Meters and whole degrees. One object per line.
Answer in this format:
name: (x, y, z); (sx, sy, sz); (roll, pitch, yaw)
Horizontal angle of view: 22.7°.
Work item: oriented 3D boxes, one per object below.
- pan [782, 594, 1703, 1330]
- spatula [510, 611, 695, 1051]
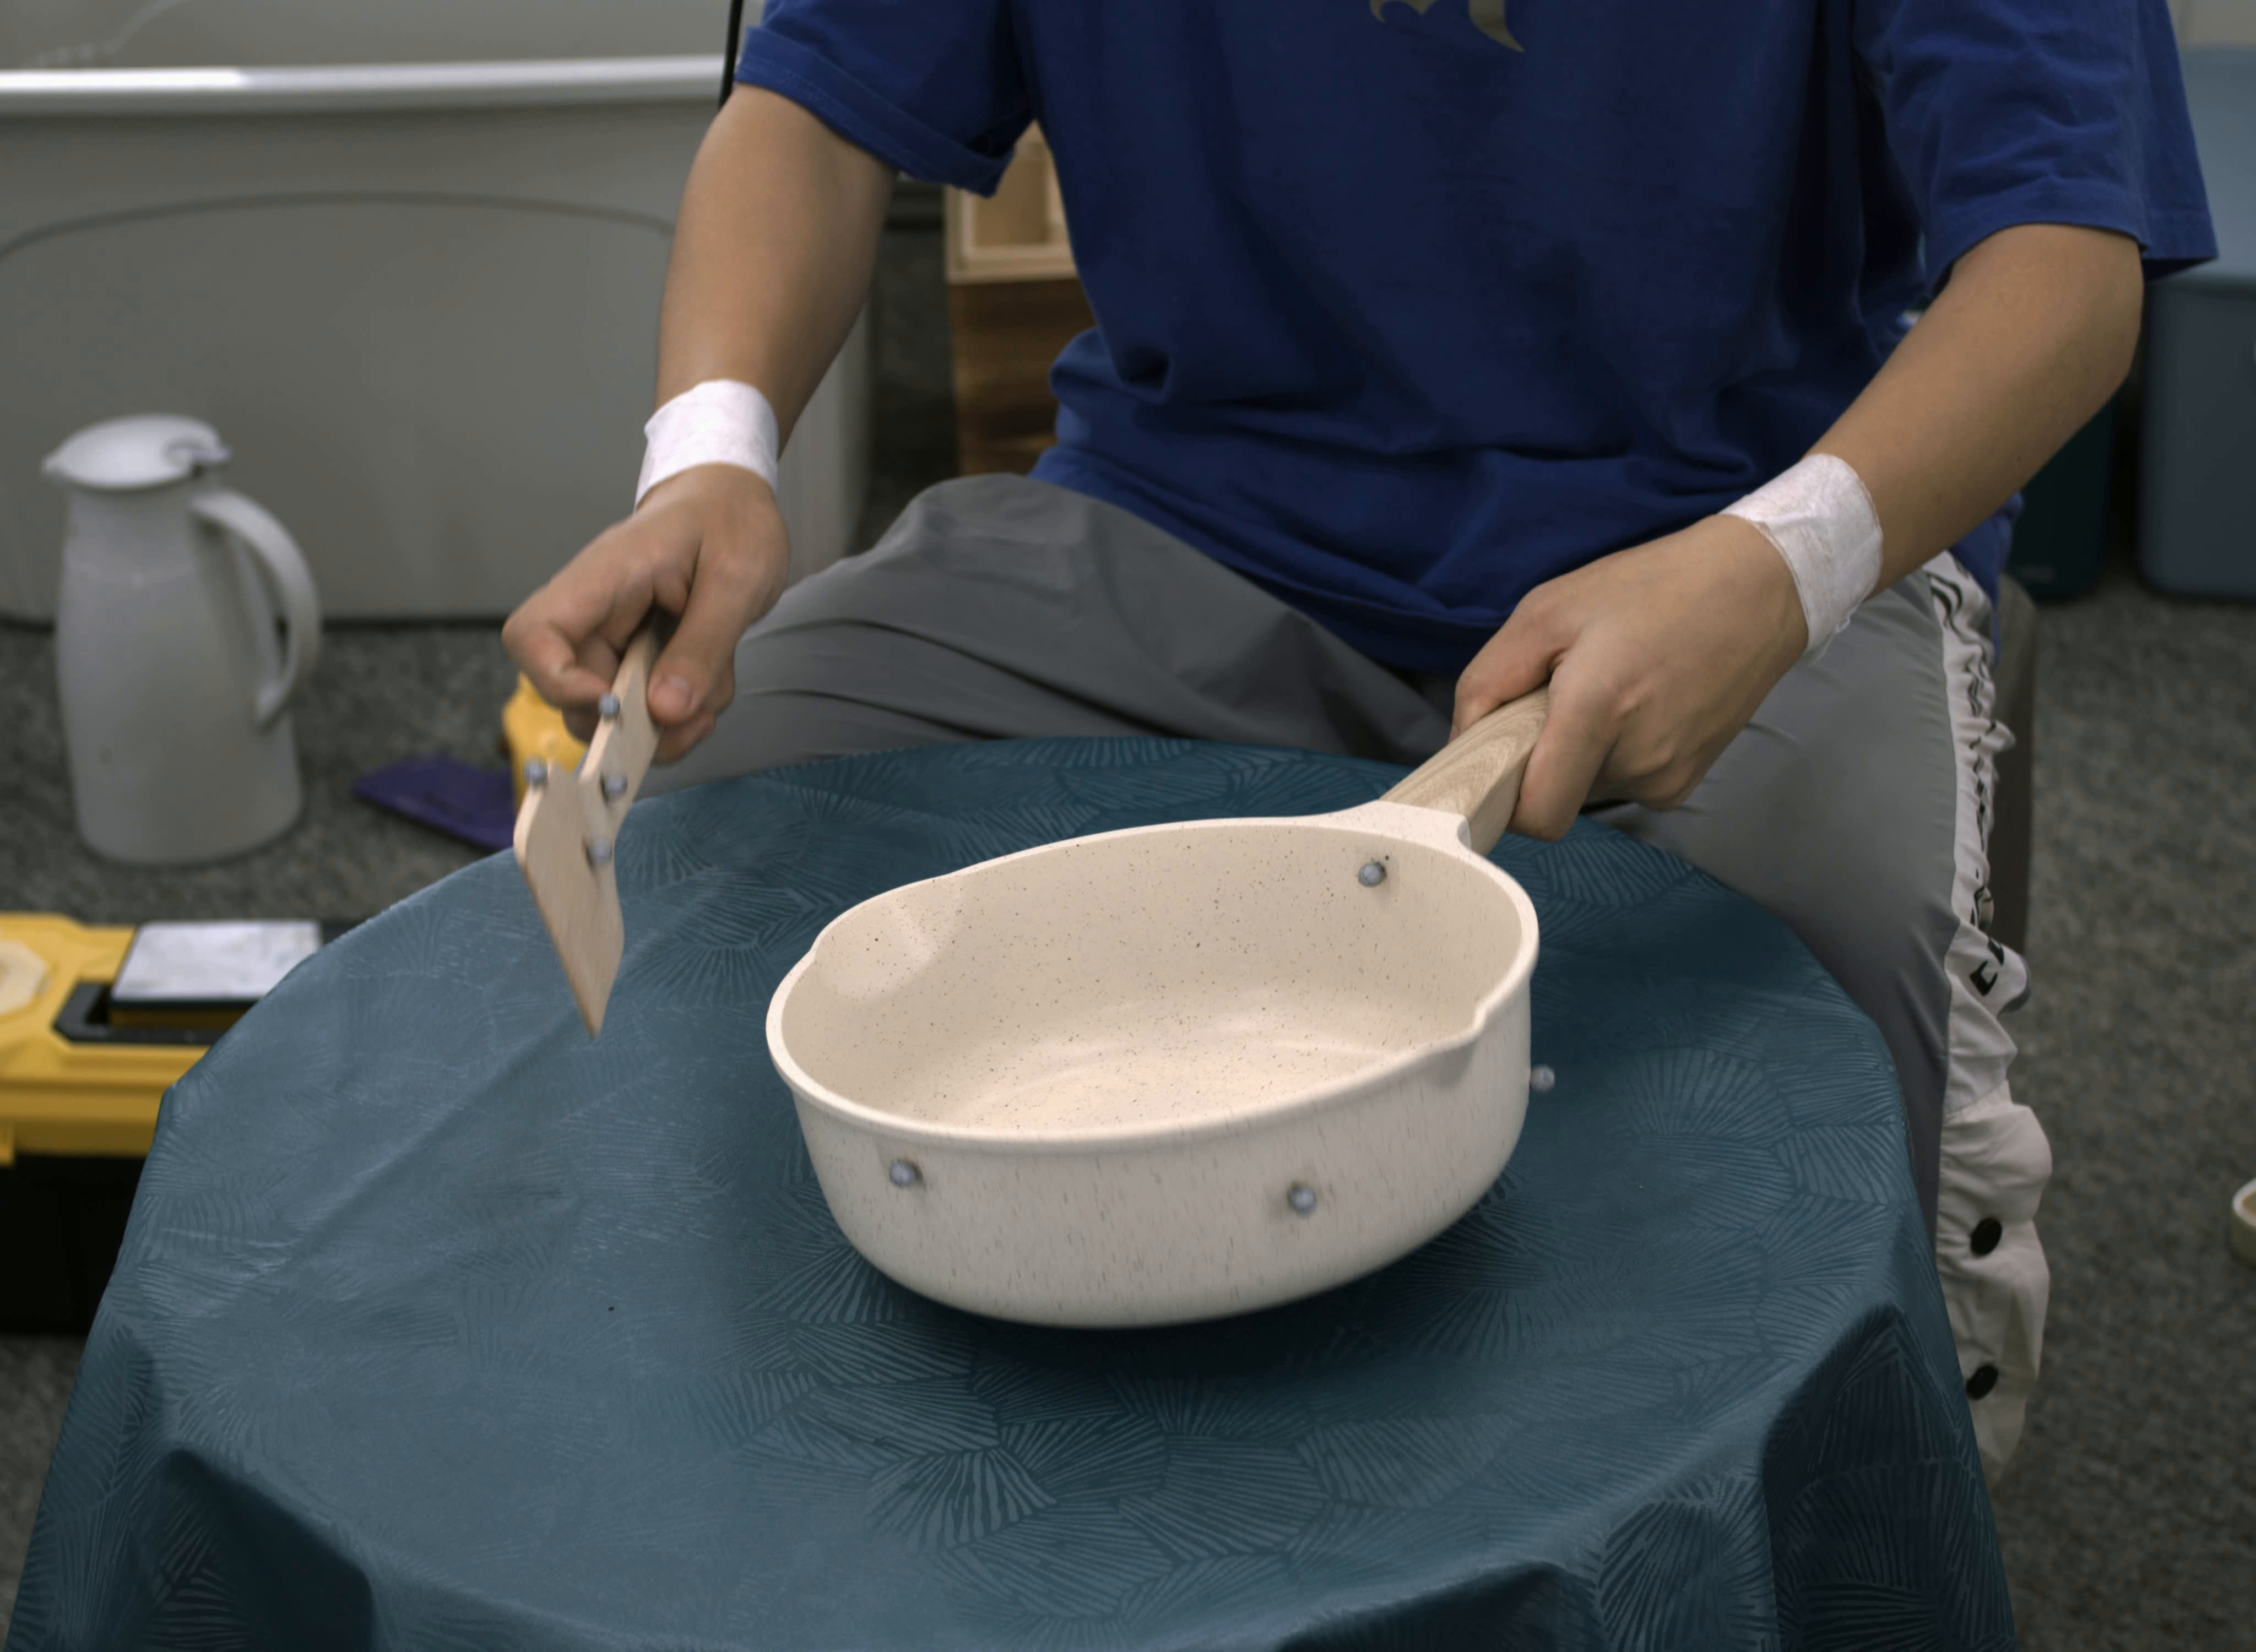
pan: (0.073, 0.043, 1.880); (0.261, 0.101, 0.441); (8, 26, 38)
spatula: (-0.178, -0.013, 1.946); (0.010, 0.072, 0.297); (-18, 21, 11)
